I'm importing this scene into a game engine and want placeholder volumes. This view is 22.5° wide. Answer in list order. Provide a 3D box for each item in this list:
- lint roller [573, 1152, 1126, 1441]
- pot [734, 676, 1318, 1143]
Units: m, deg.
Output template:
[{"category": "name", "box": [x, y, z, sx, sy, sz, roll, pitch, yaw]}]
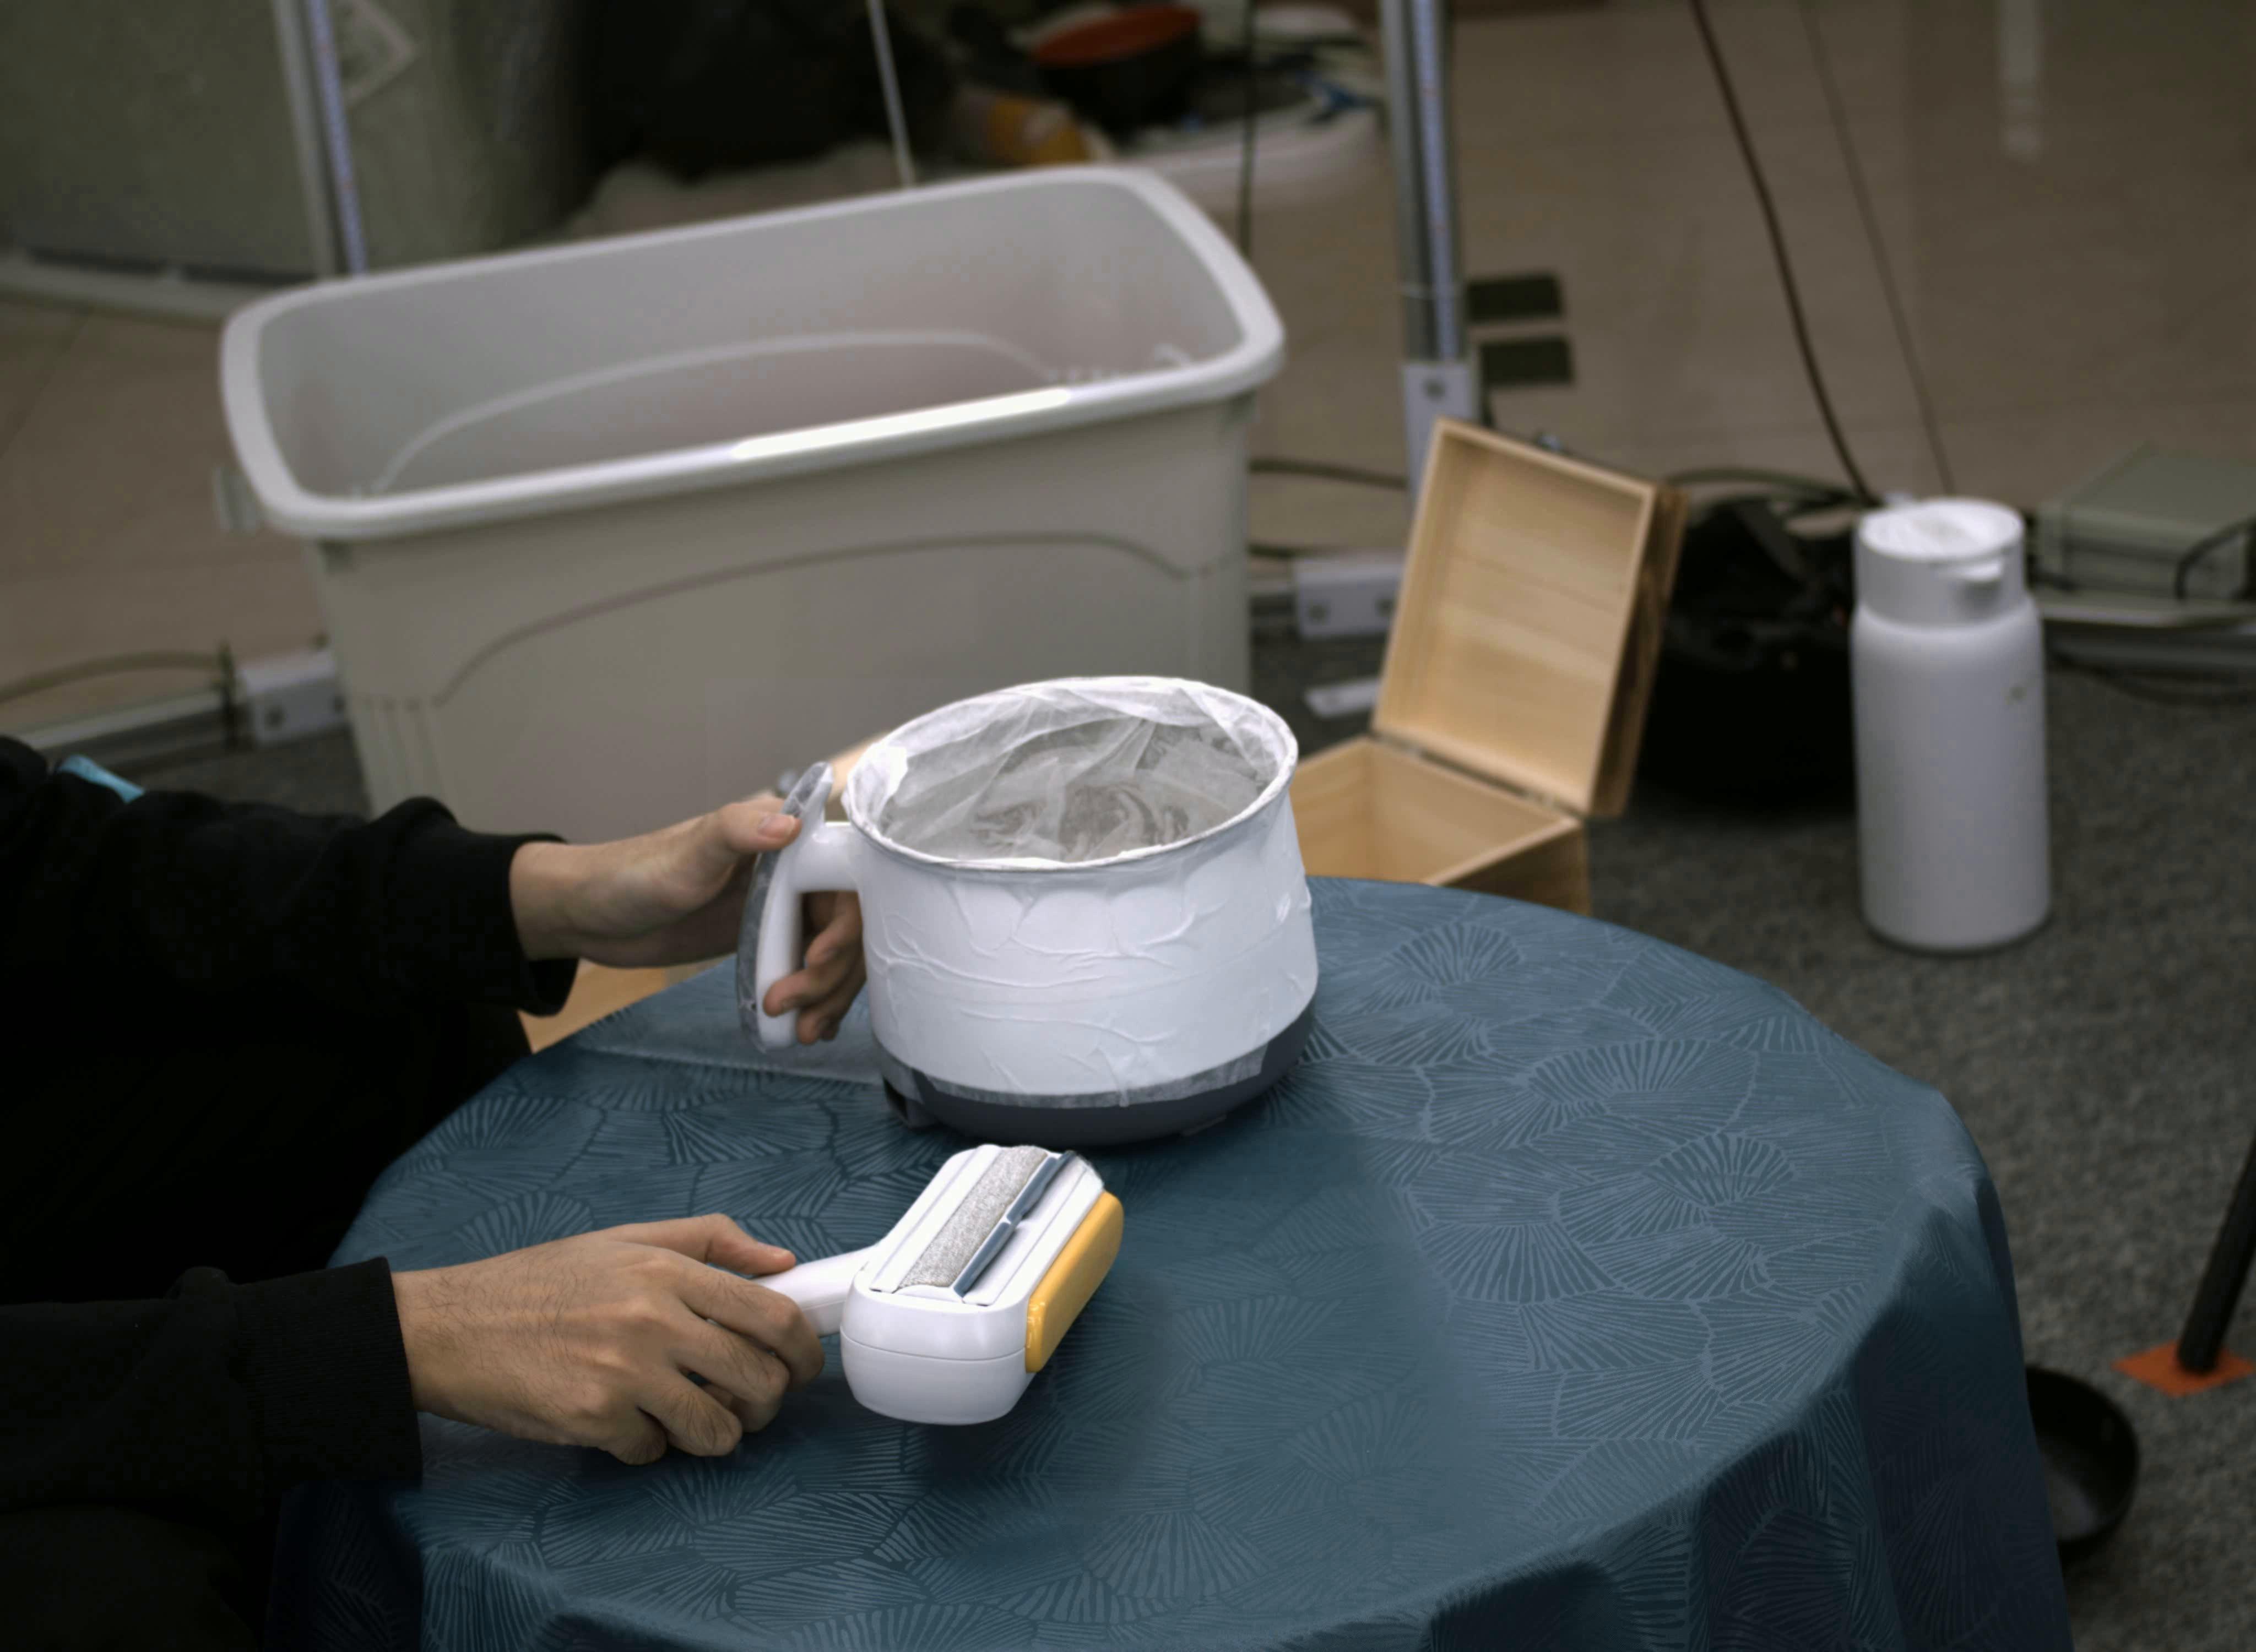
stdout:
[{"category": "lint roller", "box": [-0.109, 0.171, 2.022, 0.192, 0.075, 0.191, -1, 18, 16]}, {"category": "pot", "box": [-0.043, 0.034, 2.211, 0.233, 0.139, 0.176, 0, 24, 10]}]
